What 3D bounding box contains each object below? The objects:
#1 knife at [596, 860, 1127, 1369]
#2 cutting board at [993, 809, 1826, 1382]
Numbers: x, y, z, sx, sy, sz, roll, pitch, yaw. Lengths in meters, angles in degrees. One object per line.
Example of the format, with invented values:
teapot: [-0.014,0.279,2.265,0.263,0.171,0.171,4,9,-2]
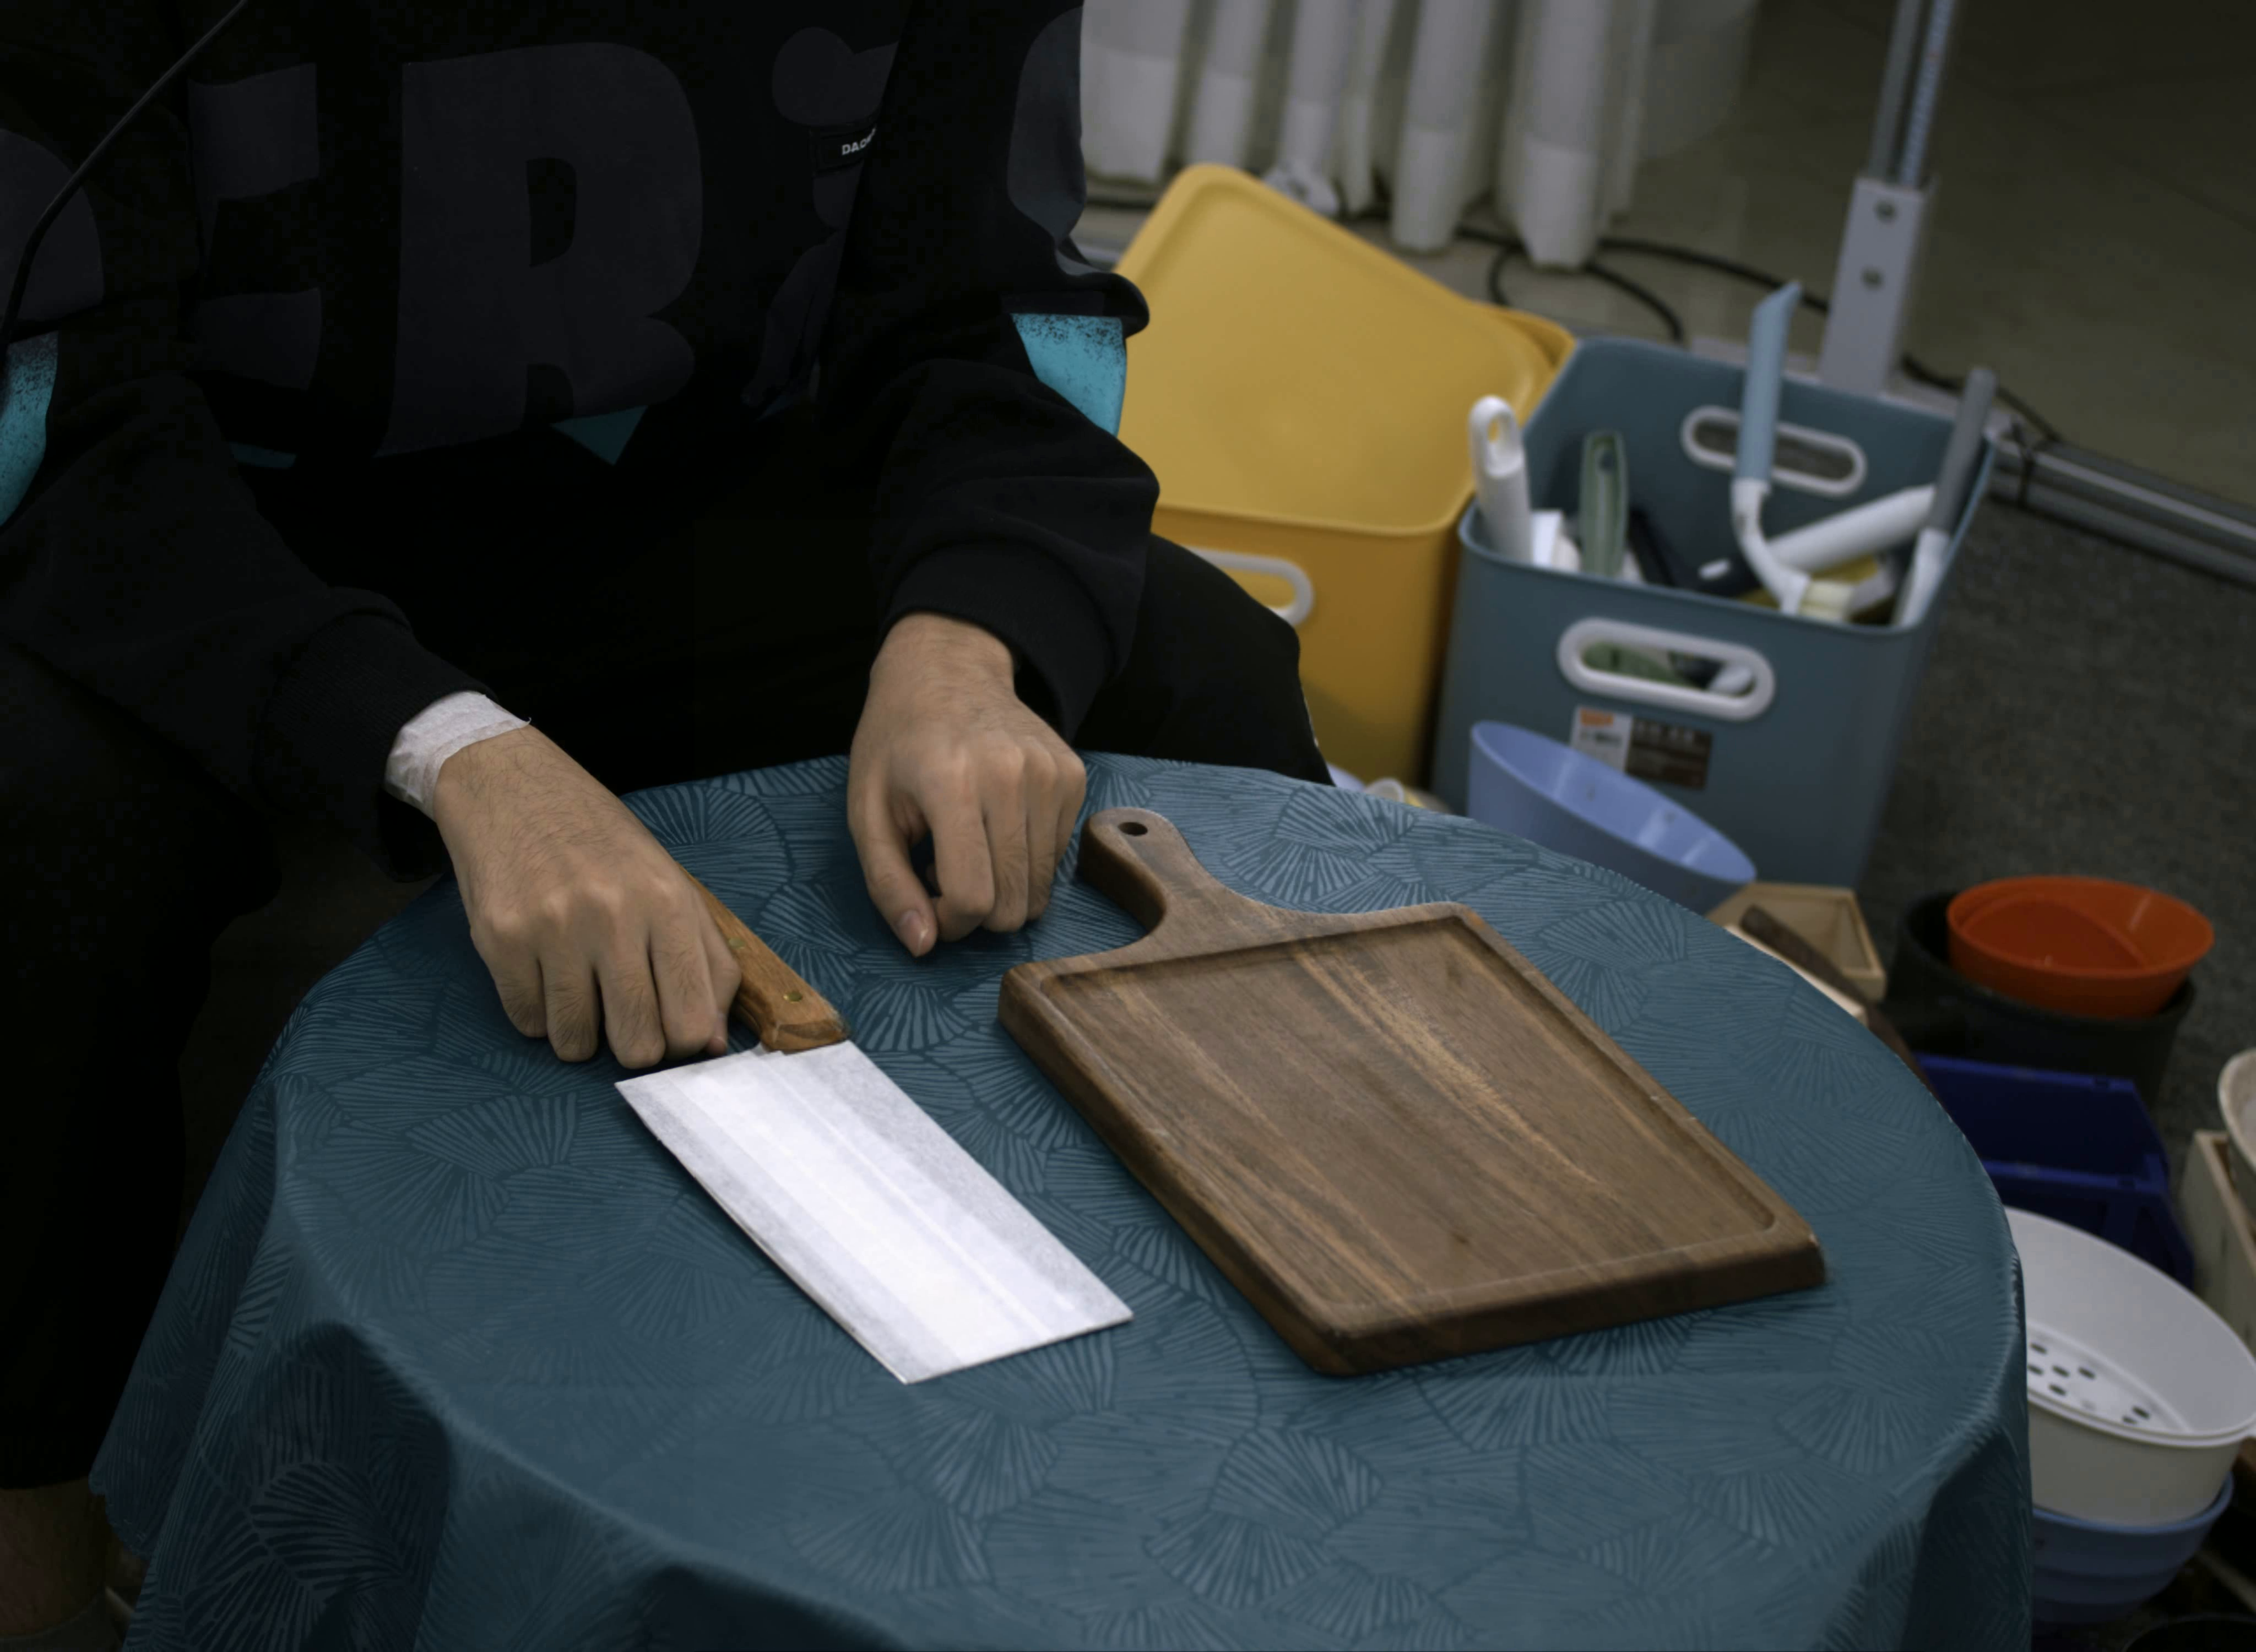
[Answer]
knife: [-0.117,0.097,1.812,0.092,0.021,0.308,-13,36,-31]
cutting board: [0.071,0.081,1.879,0.200,0.023,0.355,-8,30,-27]
